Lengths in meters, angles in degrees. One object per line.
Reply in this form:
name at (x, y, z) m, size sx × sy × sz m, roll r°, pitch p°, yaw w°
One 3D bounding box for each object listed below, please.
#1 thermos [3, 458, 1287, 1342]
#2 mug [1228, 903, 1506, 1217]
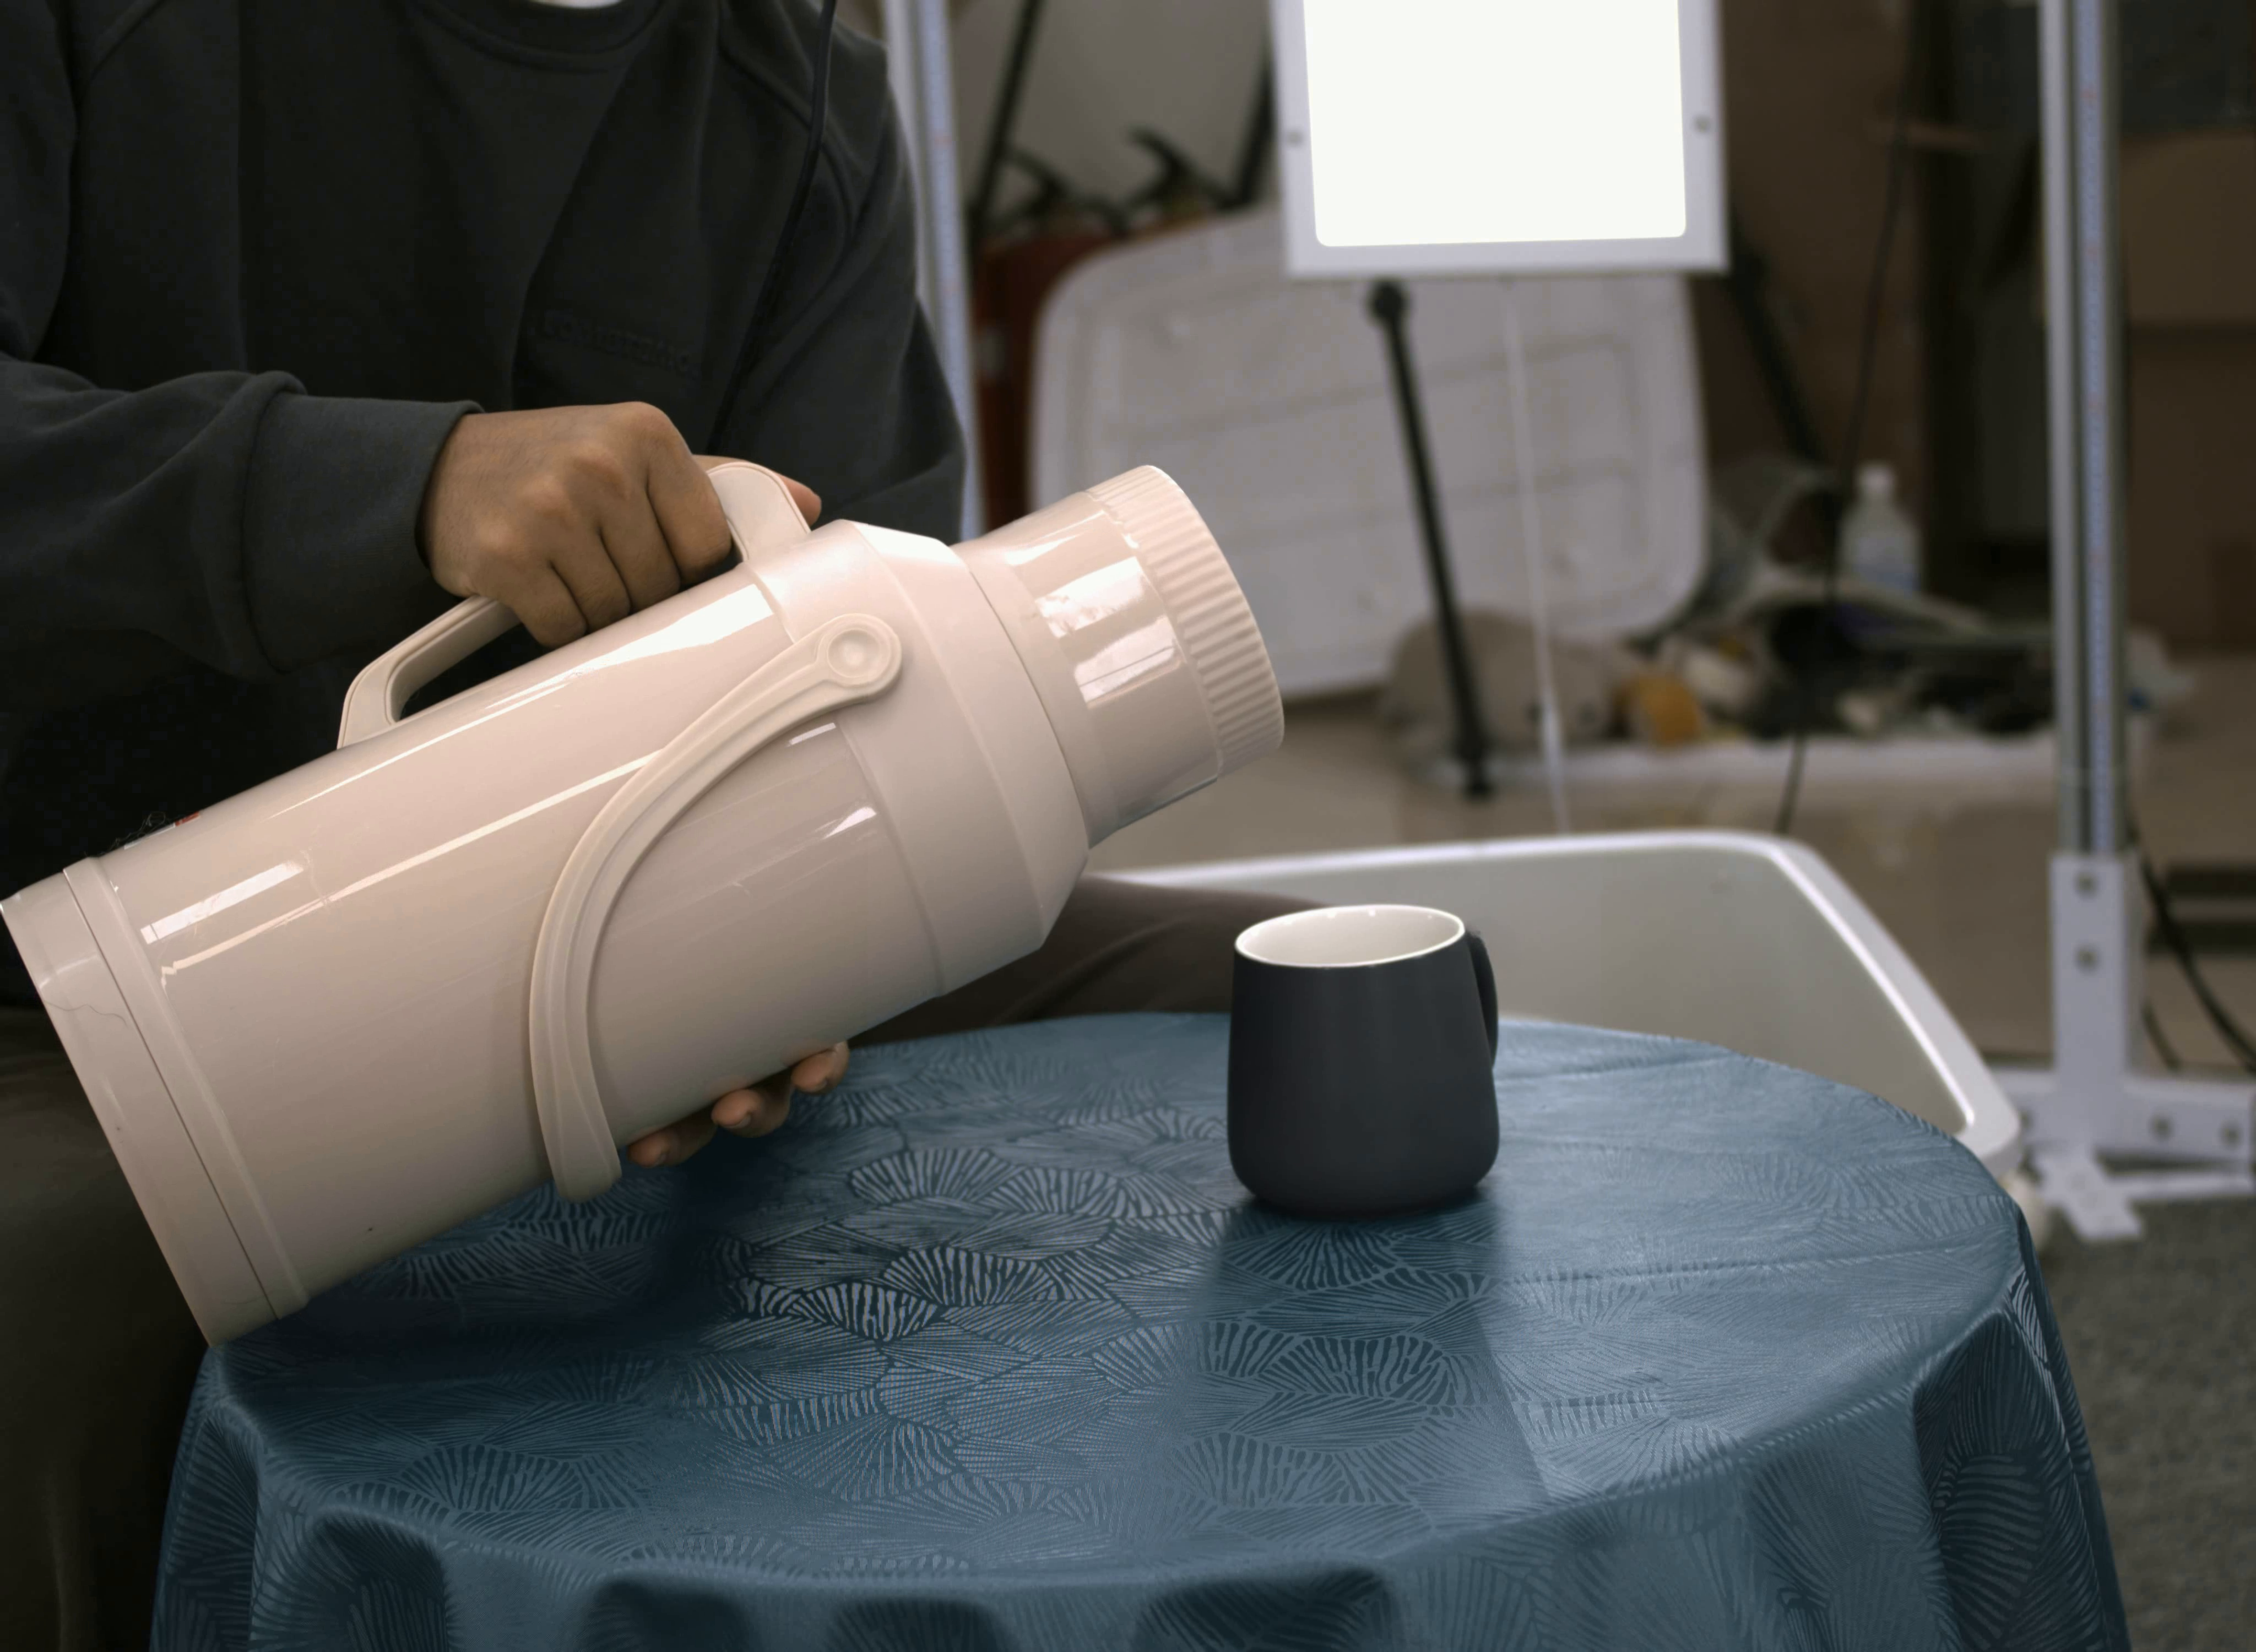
thermos at (-0.156, -0.001, 1.792) m, size 0.403 × 0.208 × 0.175 m, roll -26°, pitch -21°, yaw -8°
mug at (0.089, 0.076, 1.882) m, size 0.095 × 0.090 × 0.120 m, roll 7°, pitch 18°, yaw 41°
